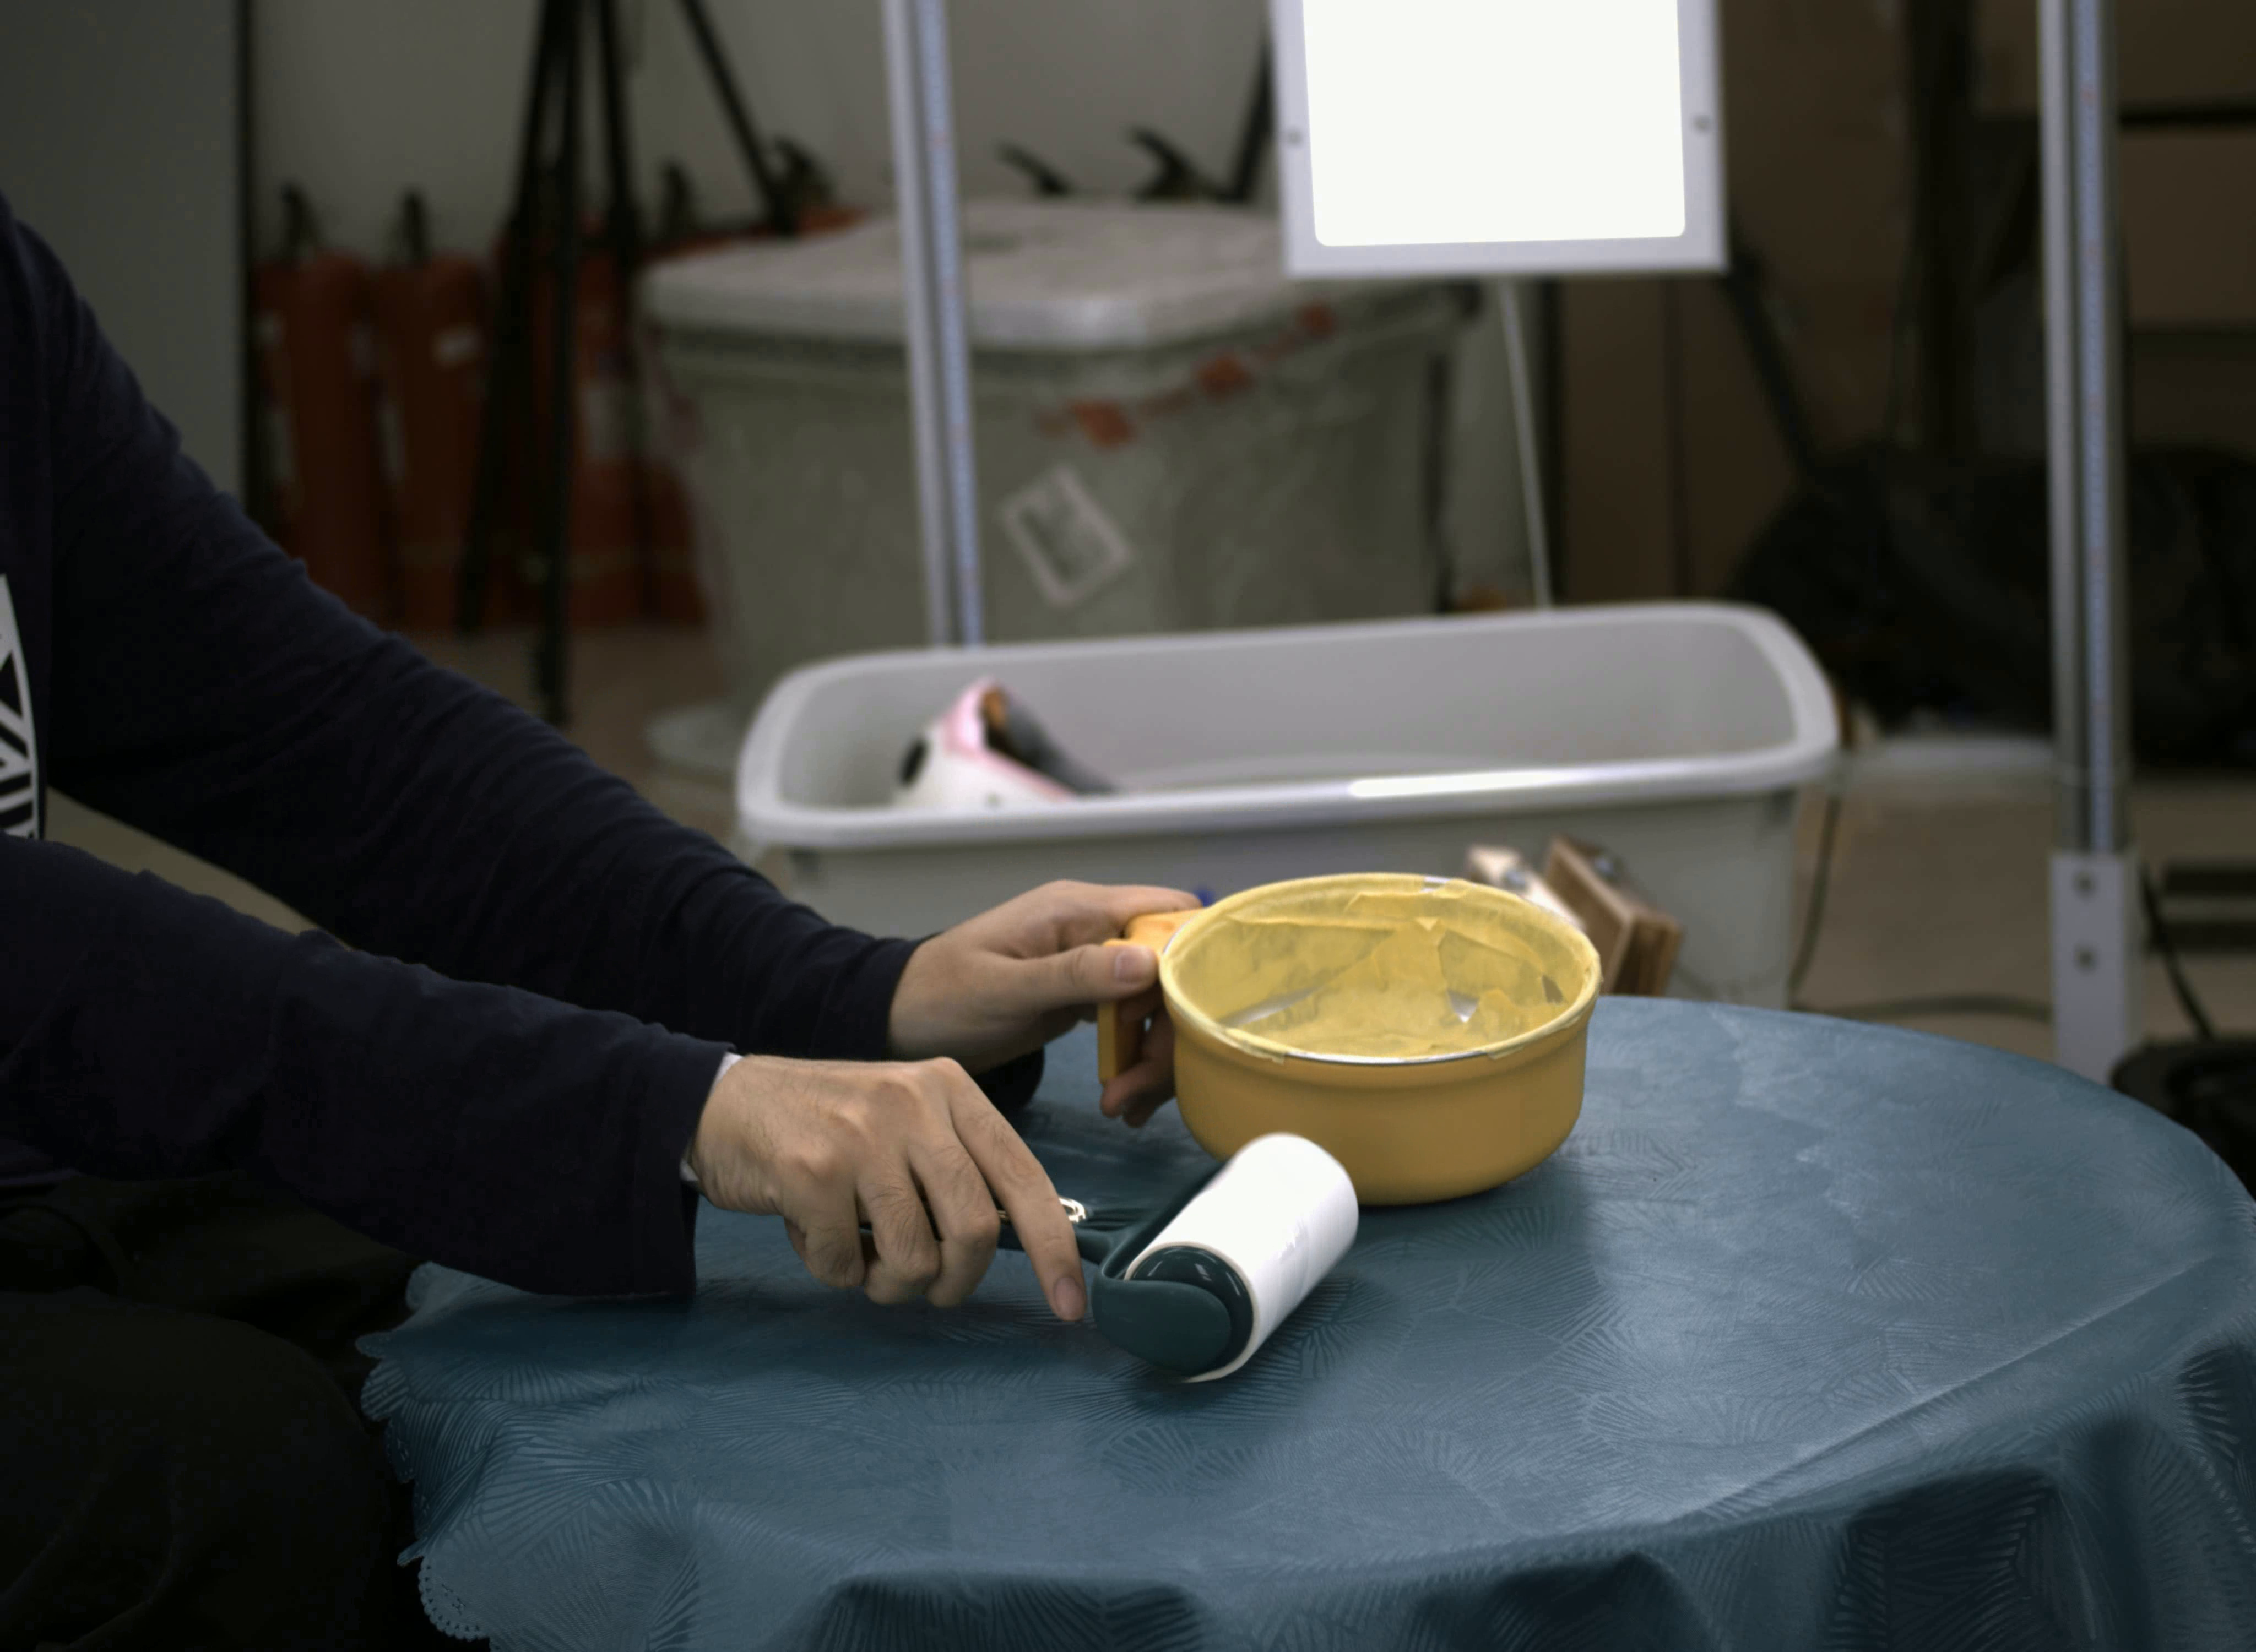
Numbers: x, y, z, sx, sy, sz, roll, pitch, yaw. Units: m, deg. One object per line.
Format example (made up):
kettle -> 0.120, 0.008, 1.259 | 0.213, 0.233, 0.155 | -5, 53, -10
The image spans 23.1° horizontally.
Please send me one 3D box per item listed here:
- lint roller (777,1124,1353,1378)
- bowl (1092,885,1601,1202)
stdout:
lint roller -> -0.028, 0.122, 1.765 | 0.182, 0.048, 0.132 | 10, 22, 19
bowl -> 0.075, 0.075, 1.912 | 0.181, 0.074, 0.150 | 7, 26, 20
